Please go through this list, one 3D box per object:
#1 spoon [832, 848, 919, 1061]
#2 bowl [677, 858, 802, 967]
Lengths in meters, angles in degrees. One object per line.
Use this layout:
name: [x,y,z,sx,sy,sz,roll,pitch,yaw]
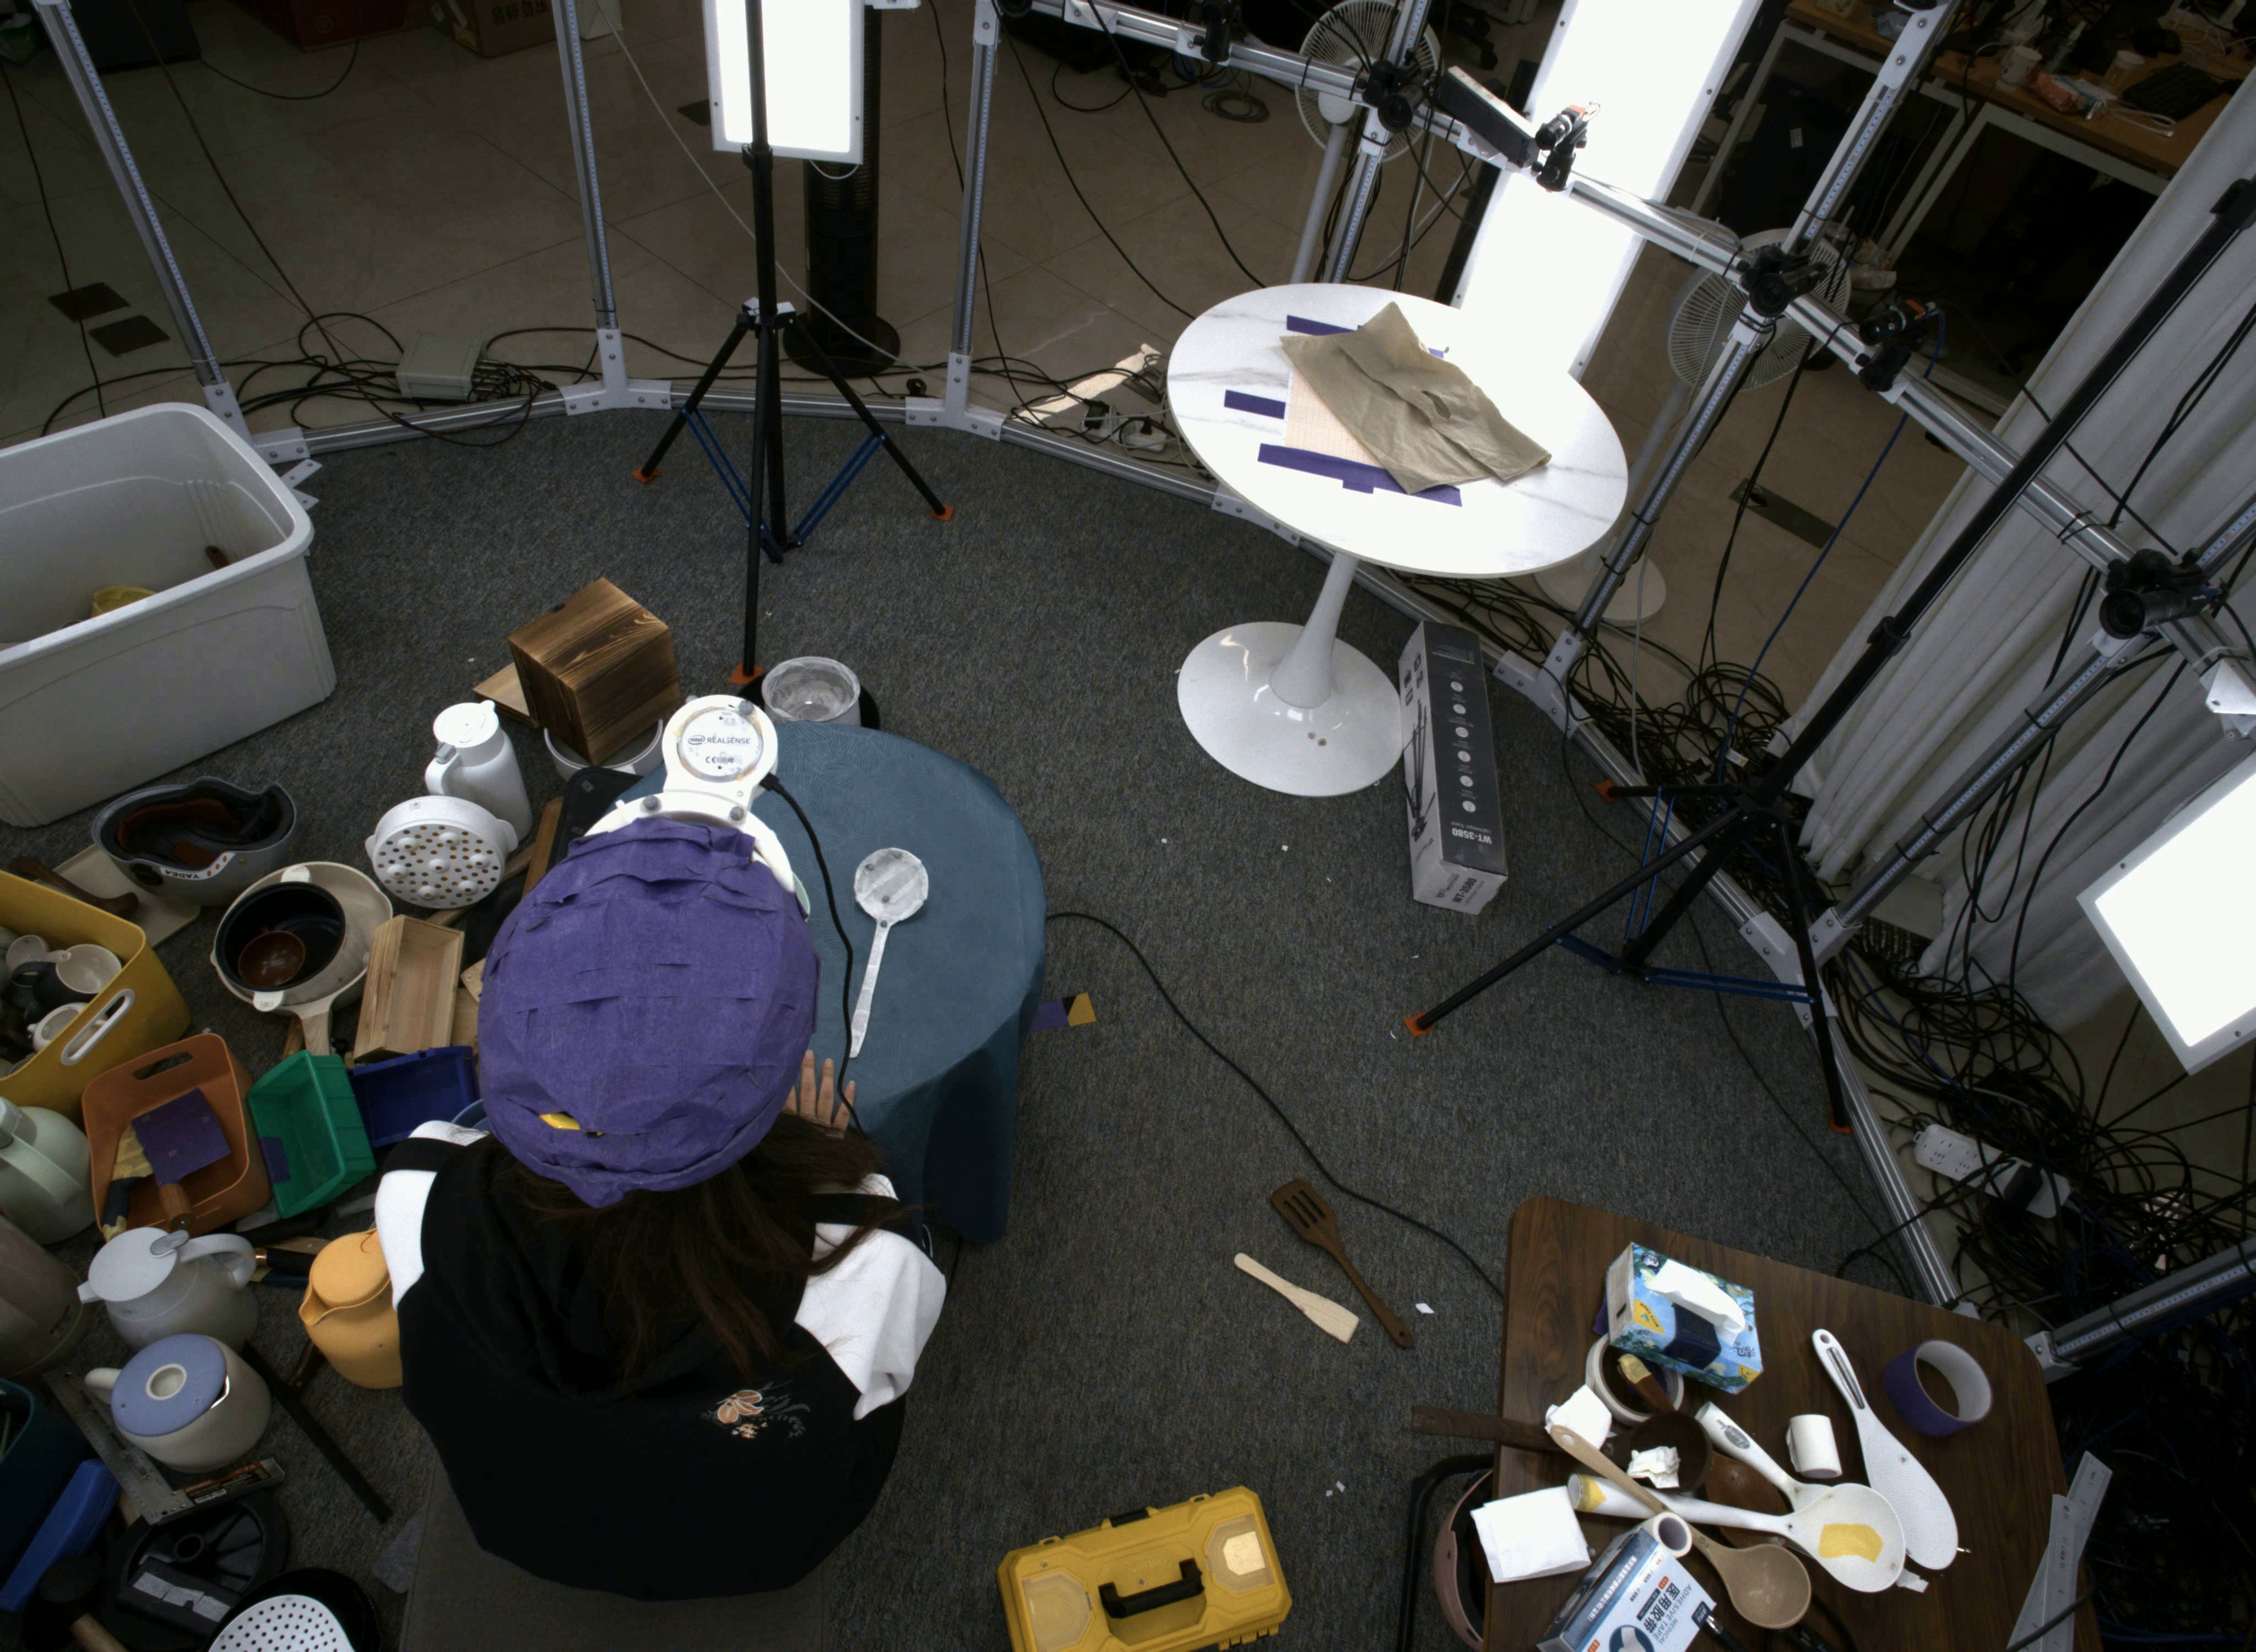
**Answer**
spoon: [-0.328,0.150,1.595,0.100,0.061,0.273,10,52,-1]
bowl: [-0.474,0.114,1.587,0.151,0.060,0.149,8,52,-8]
